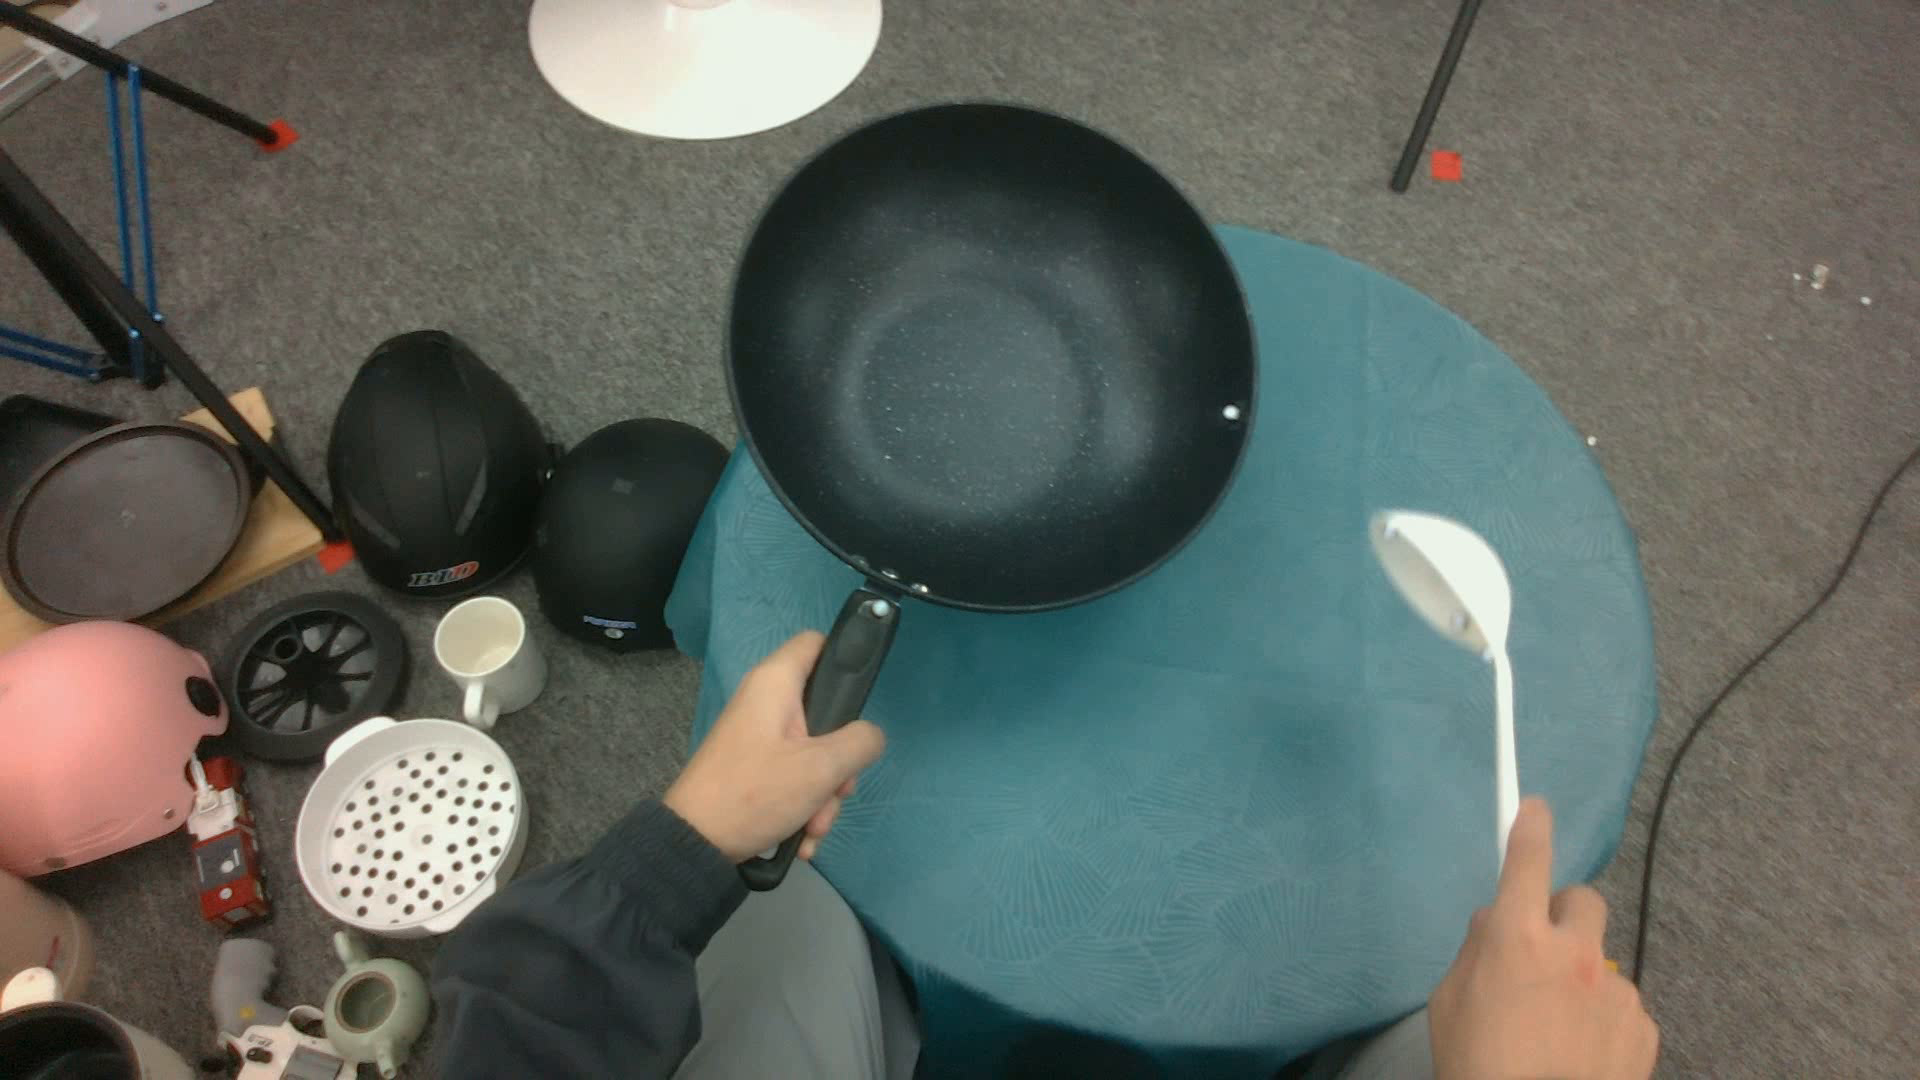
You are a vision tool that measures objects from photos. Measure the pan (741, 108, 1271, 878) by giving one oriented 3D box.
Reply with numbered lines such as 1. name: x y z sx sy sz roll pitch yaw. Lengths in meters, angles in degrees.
1. pan: -0.005 -0.032 0.791 0.310 0.111 0.478 24 71 -2

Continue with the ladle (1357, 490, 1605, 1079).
1. ladle: 0.251 0.111 0.676 0.070 0.090 0.294 -4 66 8
